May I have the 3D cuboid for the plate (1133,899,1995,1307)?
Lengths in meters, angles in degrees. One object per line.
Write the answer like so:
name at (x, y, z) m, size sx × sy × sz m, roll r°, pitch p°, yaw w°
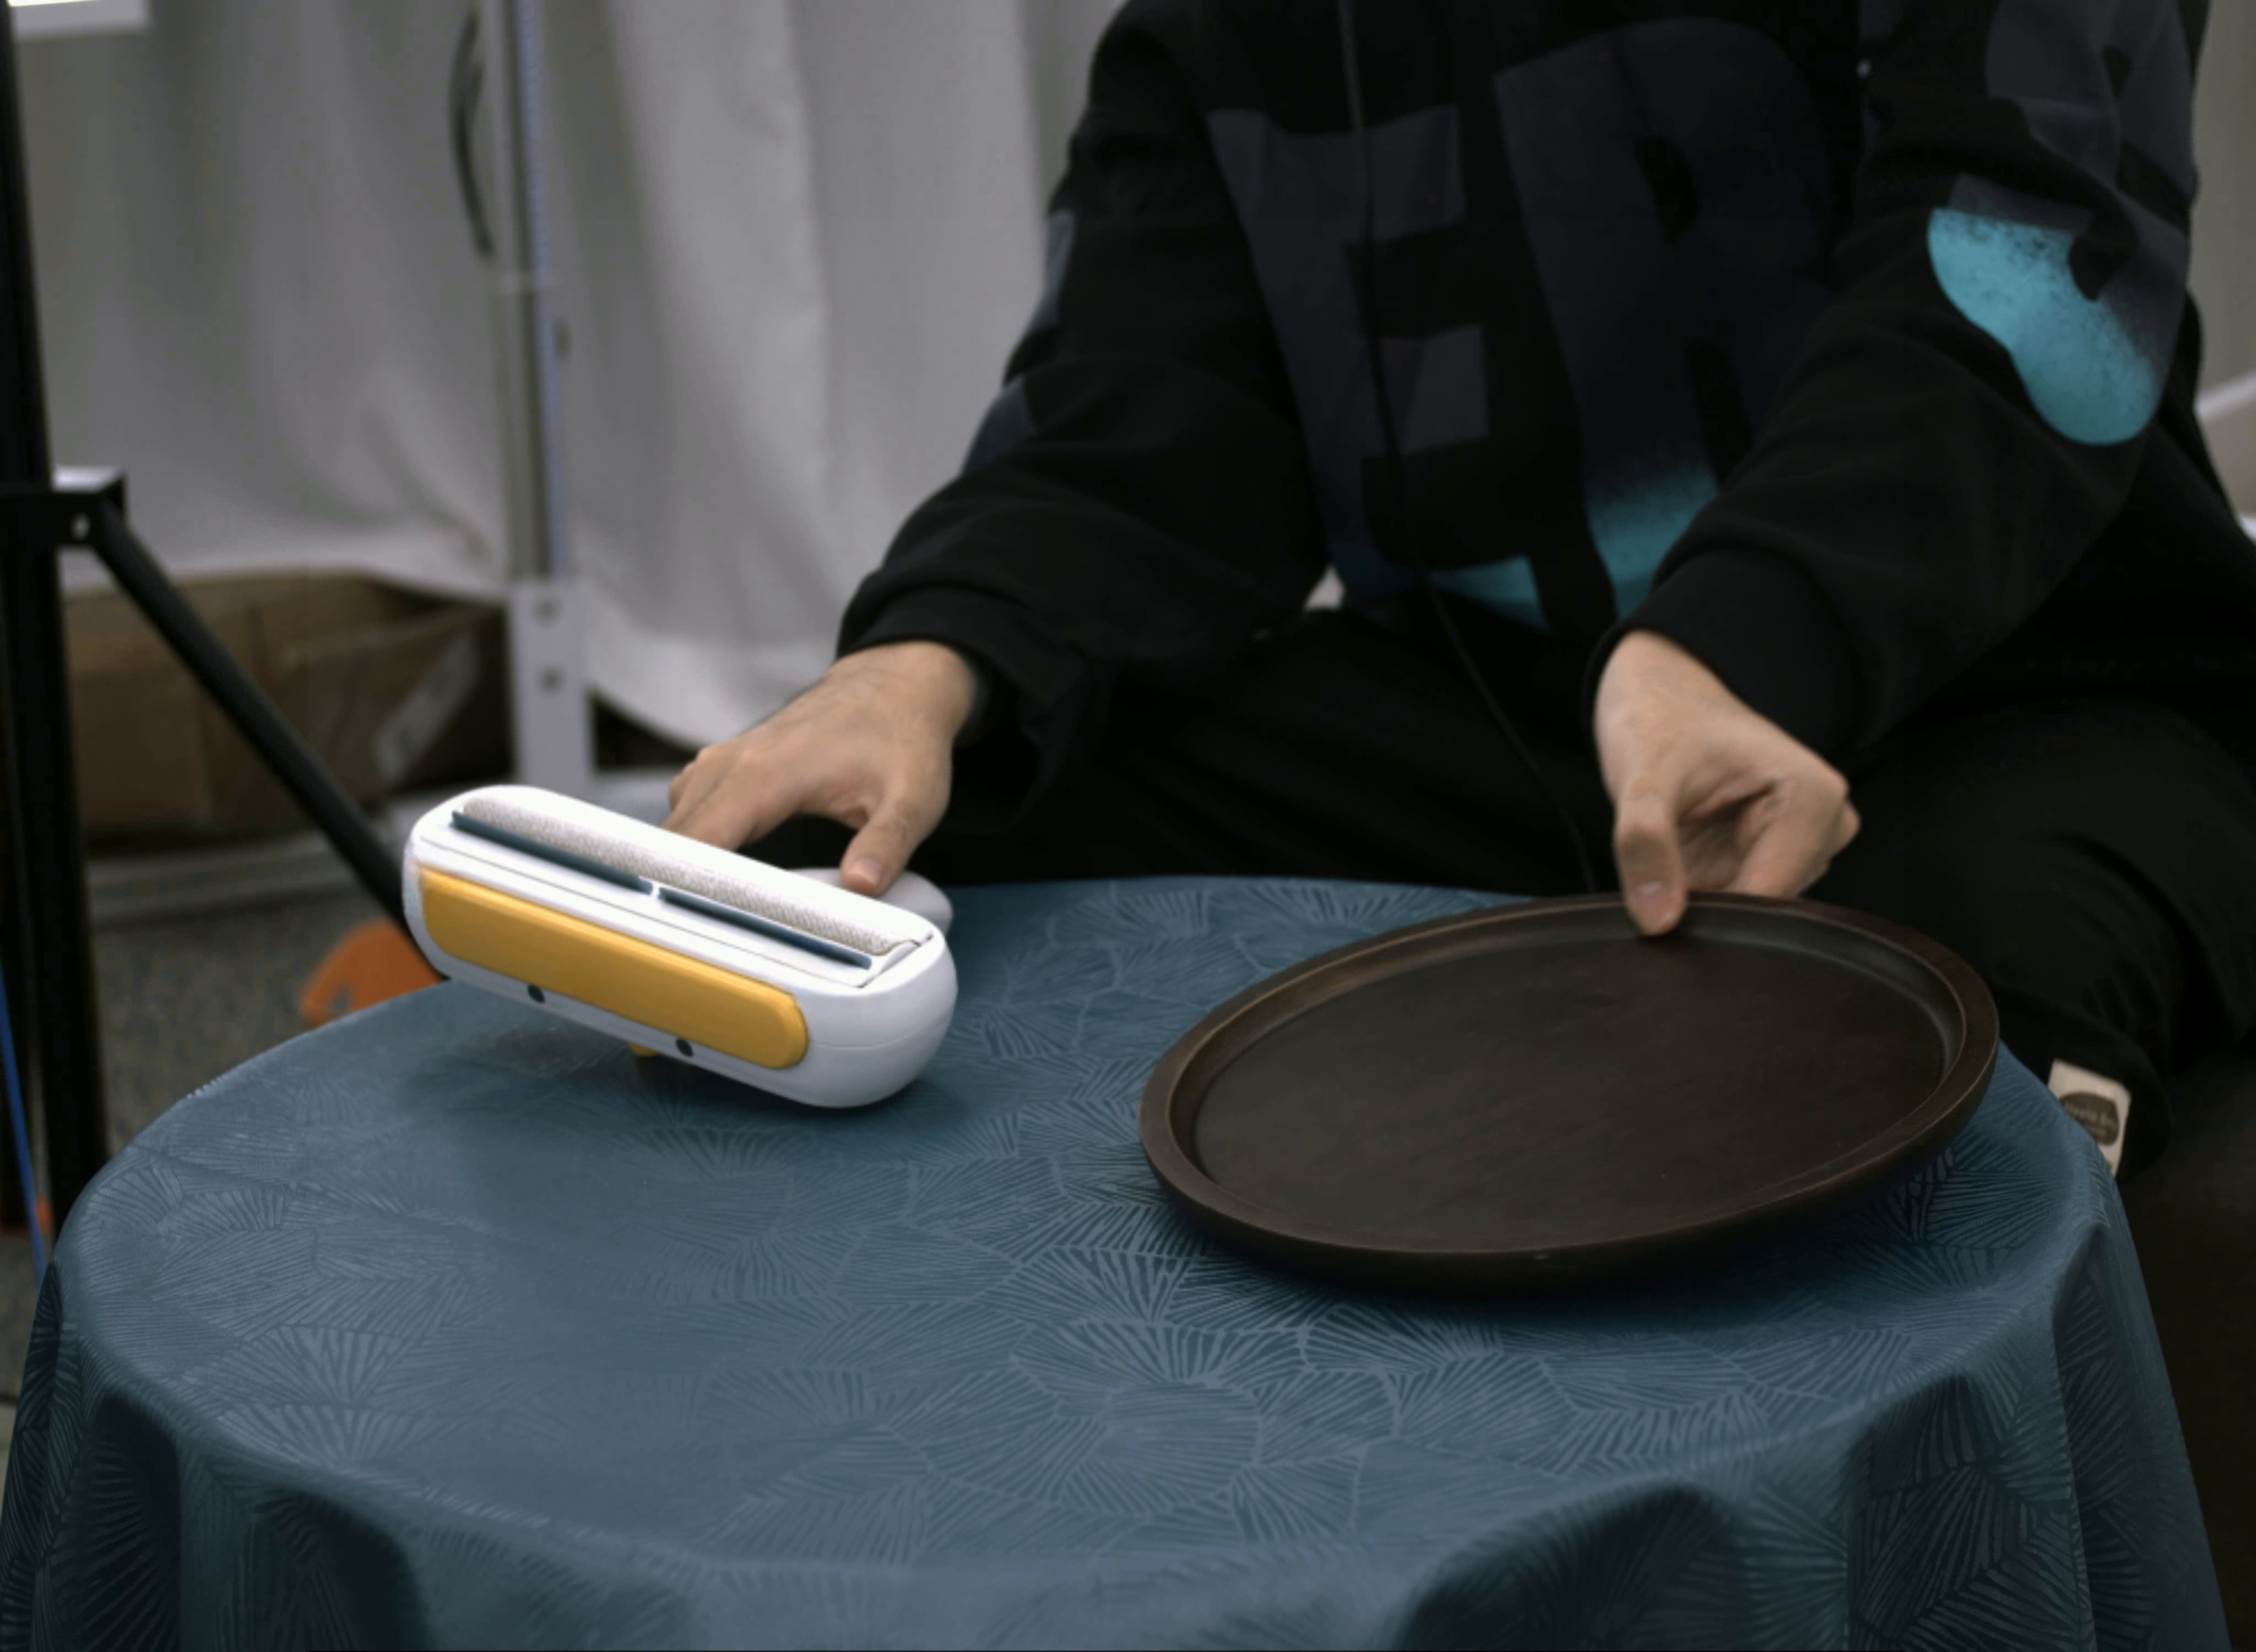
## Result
plate at (0.127, 0.079, 1.546) m, size 0.254 × 0.029 × 0.256 m, roll -9°, pitch 19°, yaw 2°

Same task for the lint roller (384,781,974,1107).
lint roller at (-0.117, 0.030, 1.732) m, size 0.197 × 0.074 × 0.188 m, roll 14°, pitch 21°, yaw 33°
